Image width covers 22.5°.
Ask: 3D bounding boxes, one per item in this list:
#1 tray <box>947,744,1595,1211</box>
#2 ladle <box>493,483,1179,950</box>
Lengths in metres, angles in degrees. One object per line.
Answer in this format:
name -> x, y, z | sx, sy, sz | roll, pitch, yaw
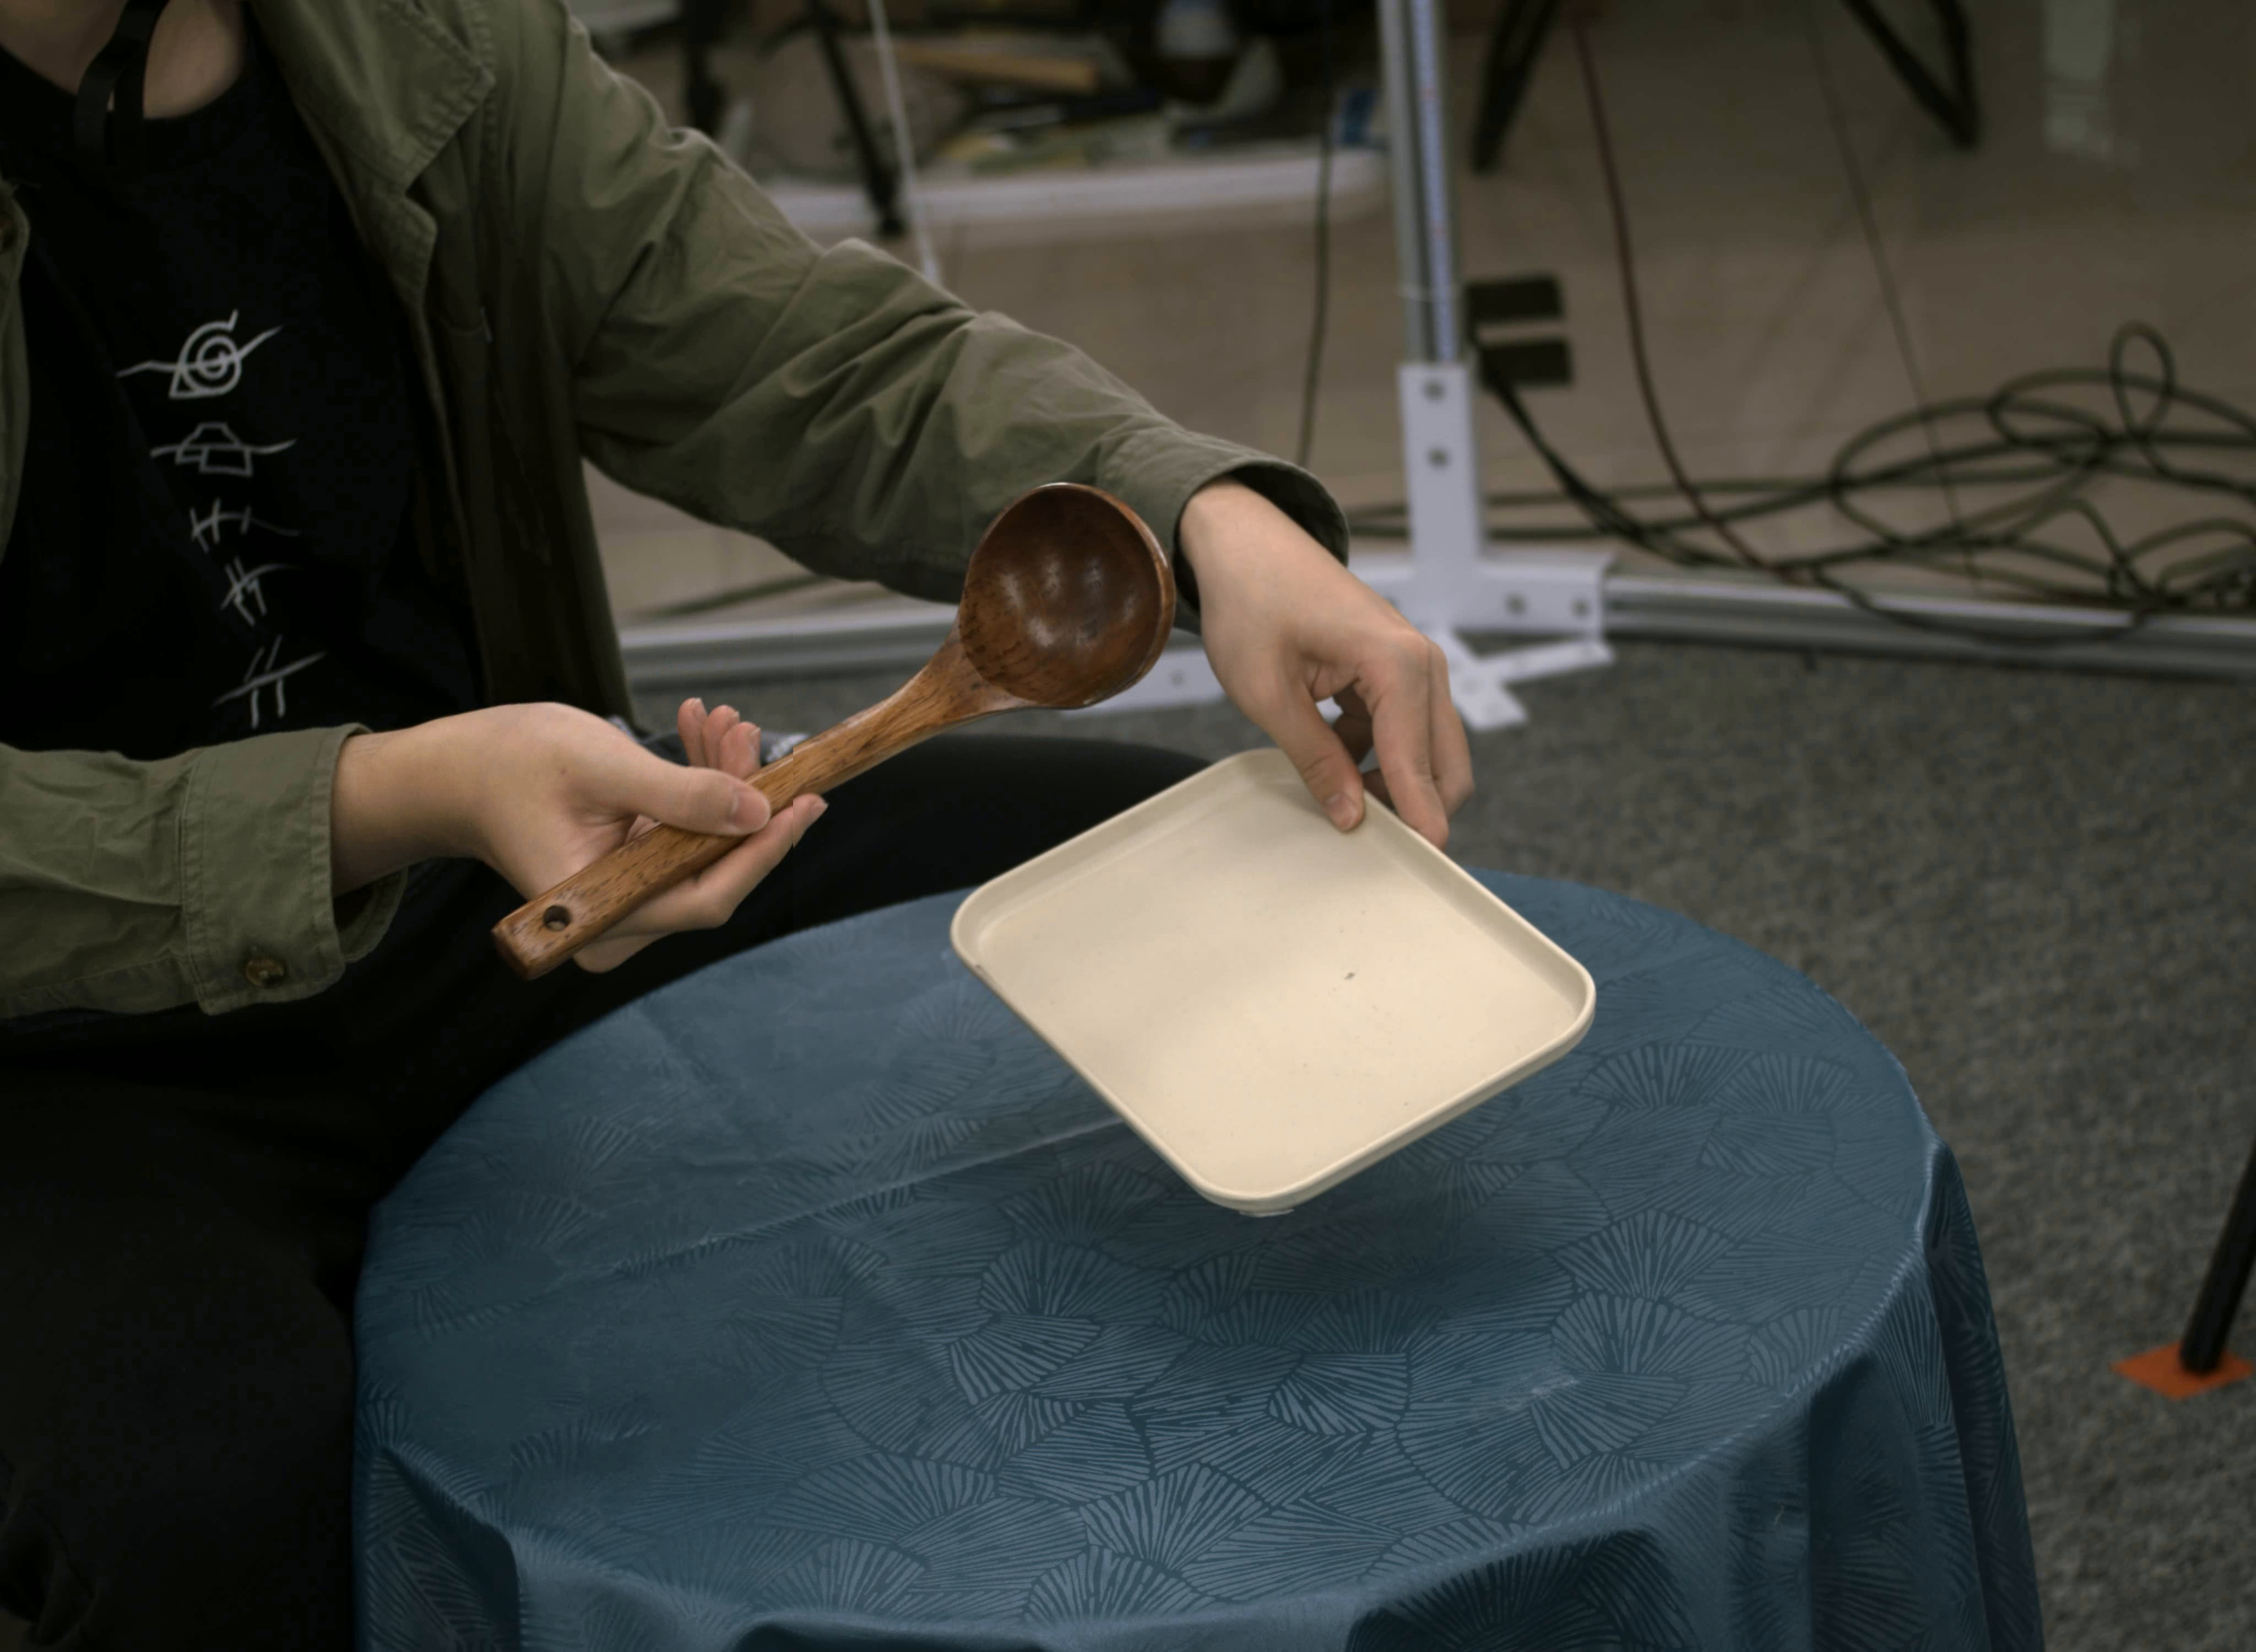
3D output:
tray -> 0.051, 0.055, 2.113 | 0.170, 0.018, 0.236 | -28, 39, -17
ladle -> -0.100, -0.037, 1.984 | 0.272, 0.078, 0.081 | -28, 67, -28
